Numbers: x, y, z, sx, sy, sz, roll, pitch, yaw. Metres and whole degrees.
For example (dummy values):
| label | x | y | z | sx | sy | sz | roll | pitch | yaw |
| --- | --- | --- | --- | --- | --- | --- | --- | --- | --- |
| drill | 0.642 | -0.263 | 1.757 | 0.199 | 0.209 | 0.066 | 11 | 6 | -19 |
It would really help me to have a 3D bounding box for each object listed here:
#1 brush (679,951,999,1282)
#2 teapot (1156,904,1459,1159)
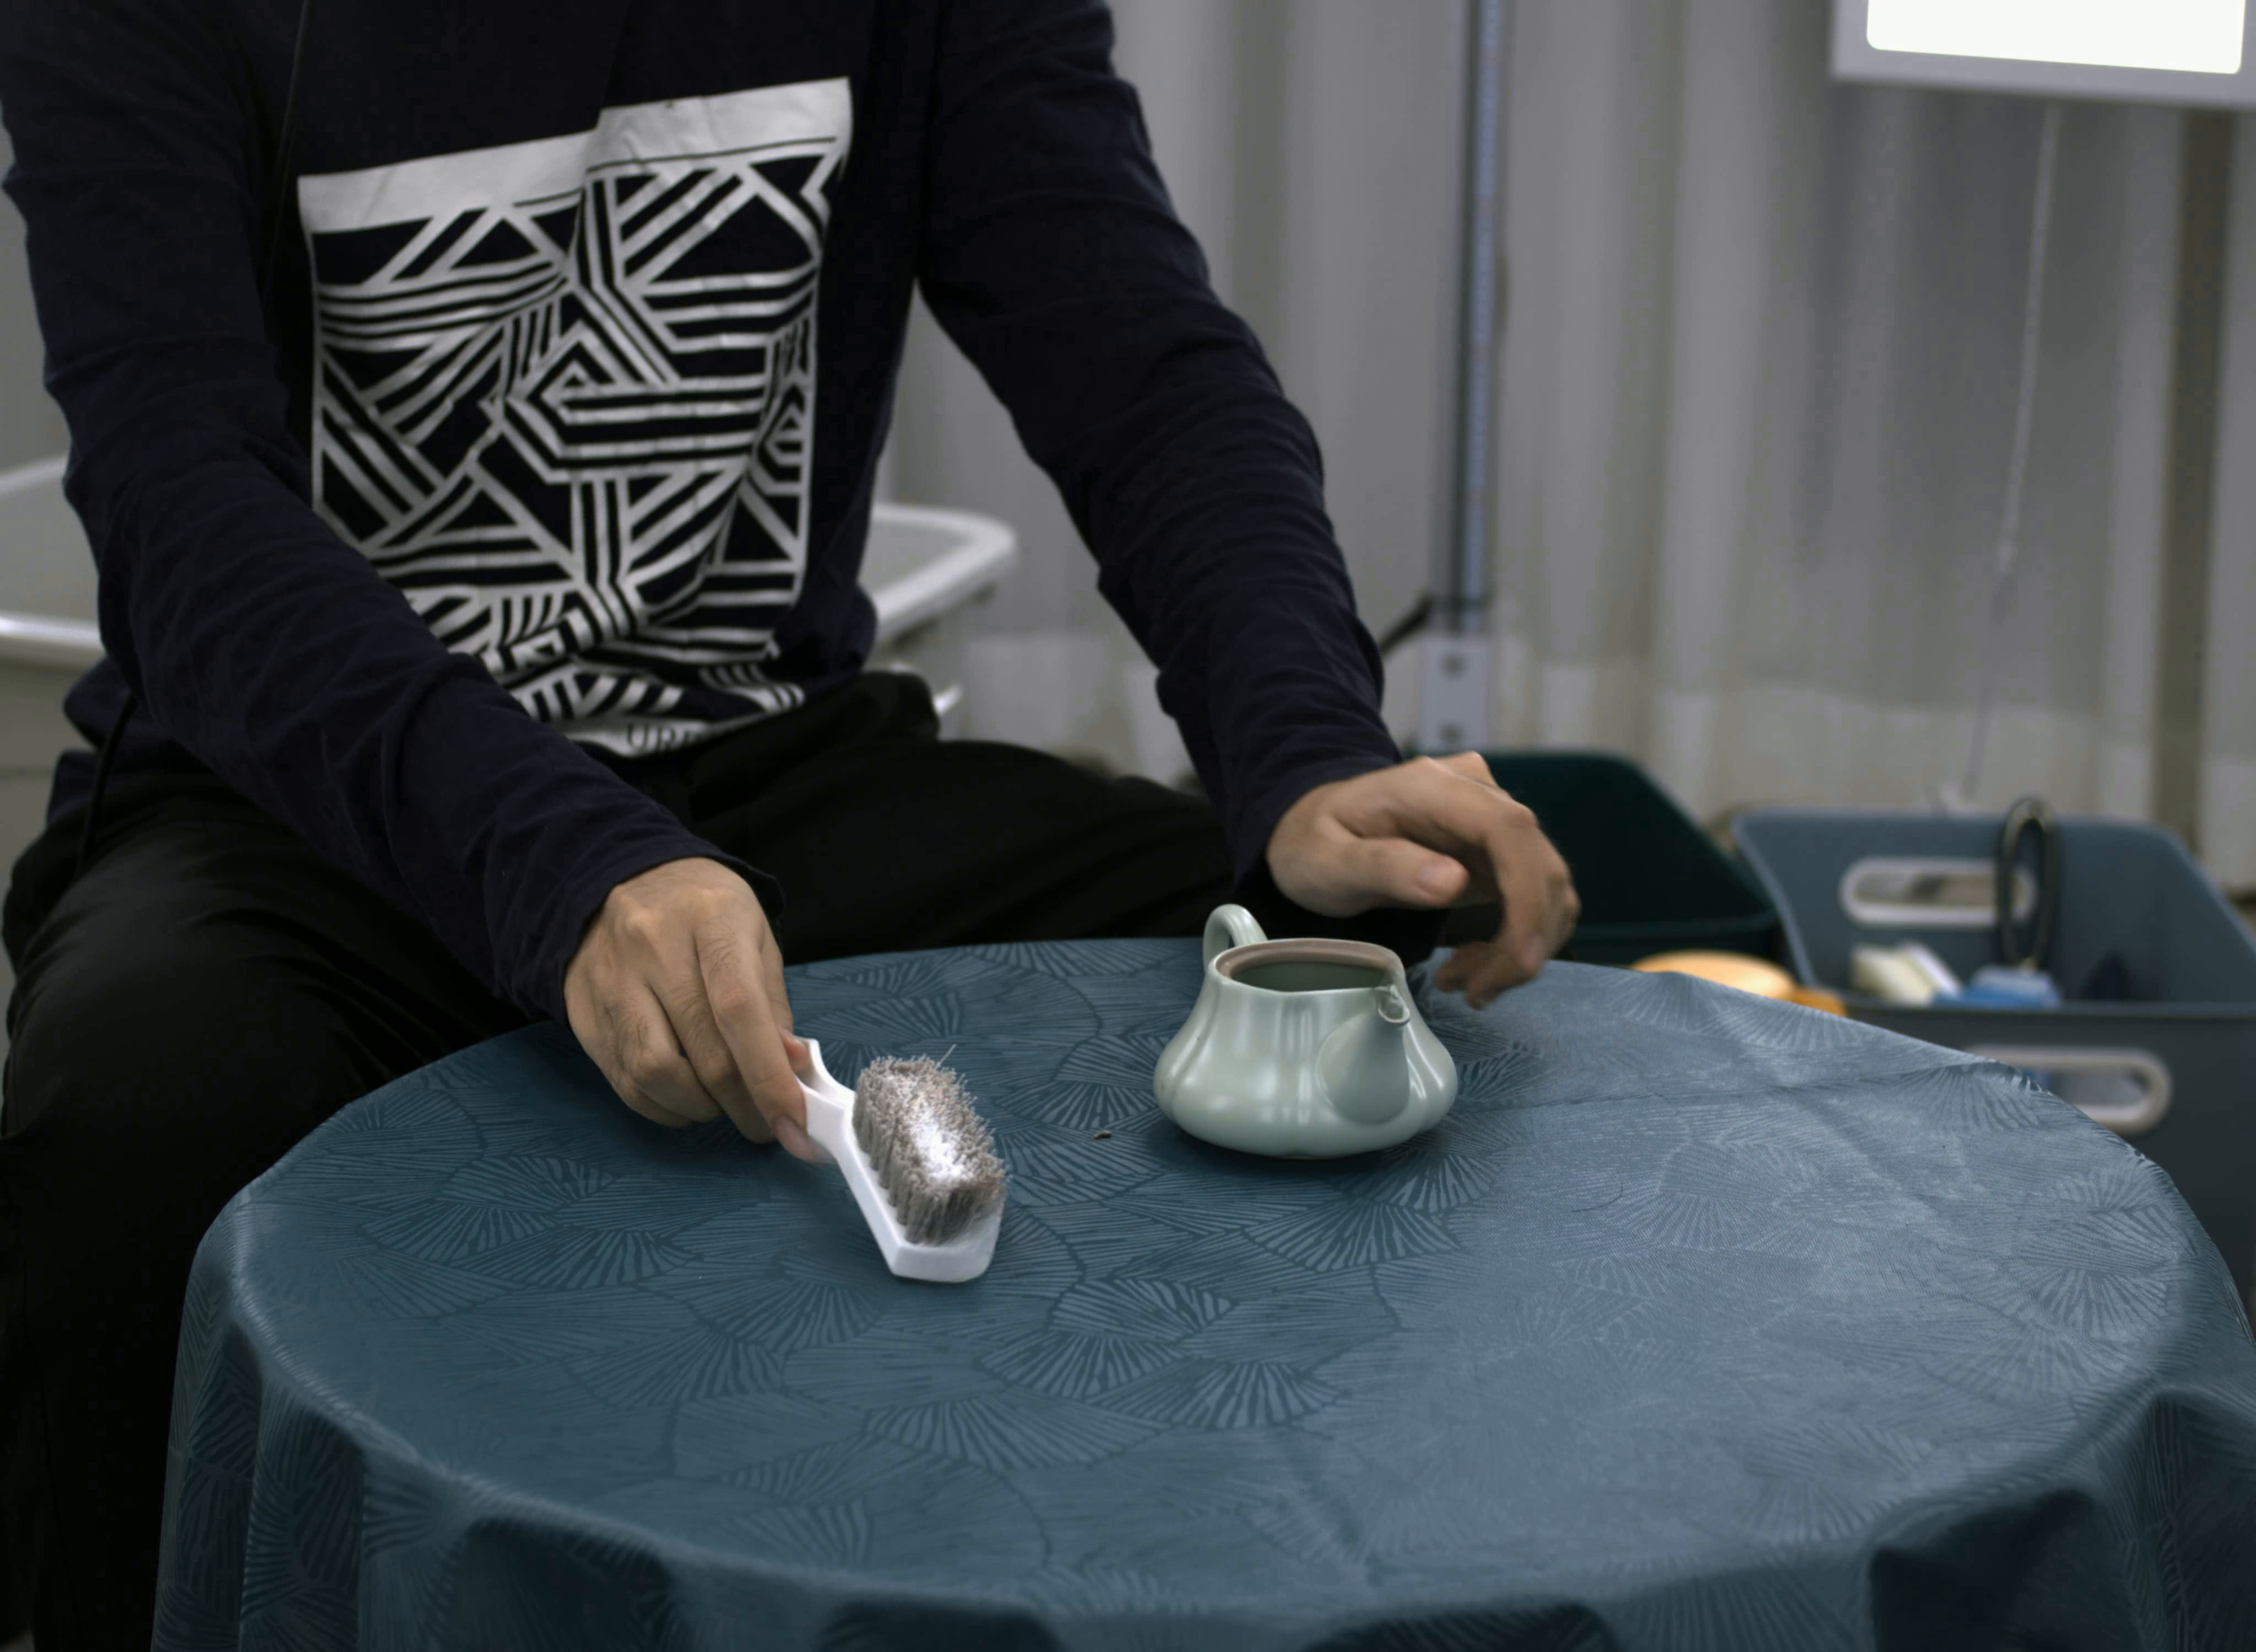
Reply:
| label | x | y | z | sx | sy | sz | roll | pitch | yaw |
| --- | --- | --- | --- | --- | --- | --- | --- | --- | --- |
| brush | -0.095 | 0.071 | 1.631 | 0.034 | 0.051 | 0.240 | -4 | 24 | -21 |
| teapot | 0.055 | 0.067 | 1.676 | 0.096 | 0.062 | 0.135 | -11 | 20 | -25 |
